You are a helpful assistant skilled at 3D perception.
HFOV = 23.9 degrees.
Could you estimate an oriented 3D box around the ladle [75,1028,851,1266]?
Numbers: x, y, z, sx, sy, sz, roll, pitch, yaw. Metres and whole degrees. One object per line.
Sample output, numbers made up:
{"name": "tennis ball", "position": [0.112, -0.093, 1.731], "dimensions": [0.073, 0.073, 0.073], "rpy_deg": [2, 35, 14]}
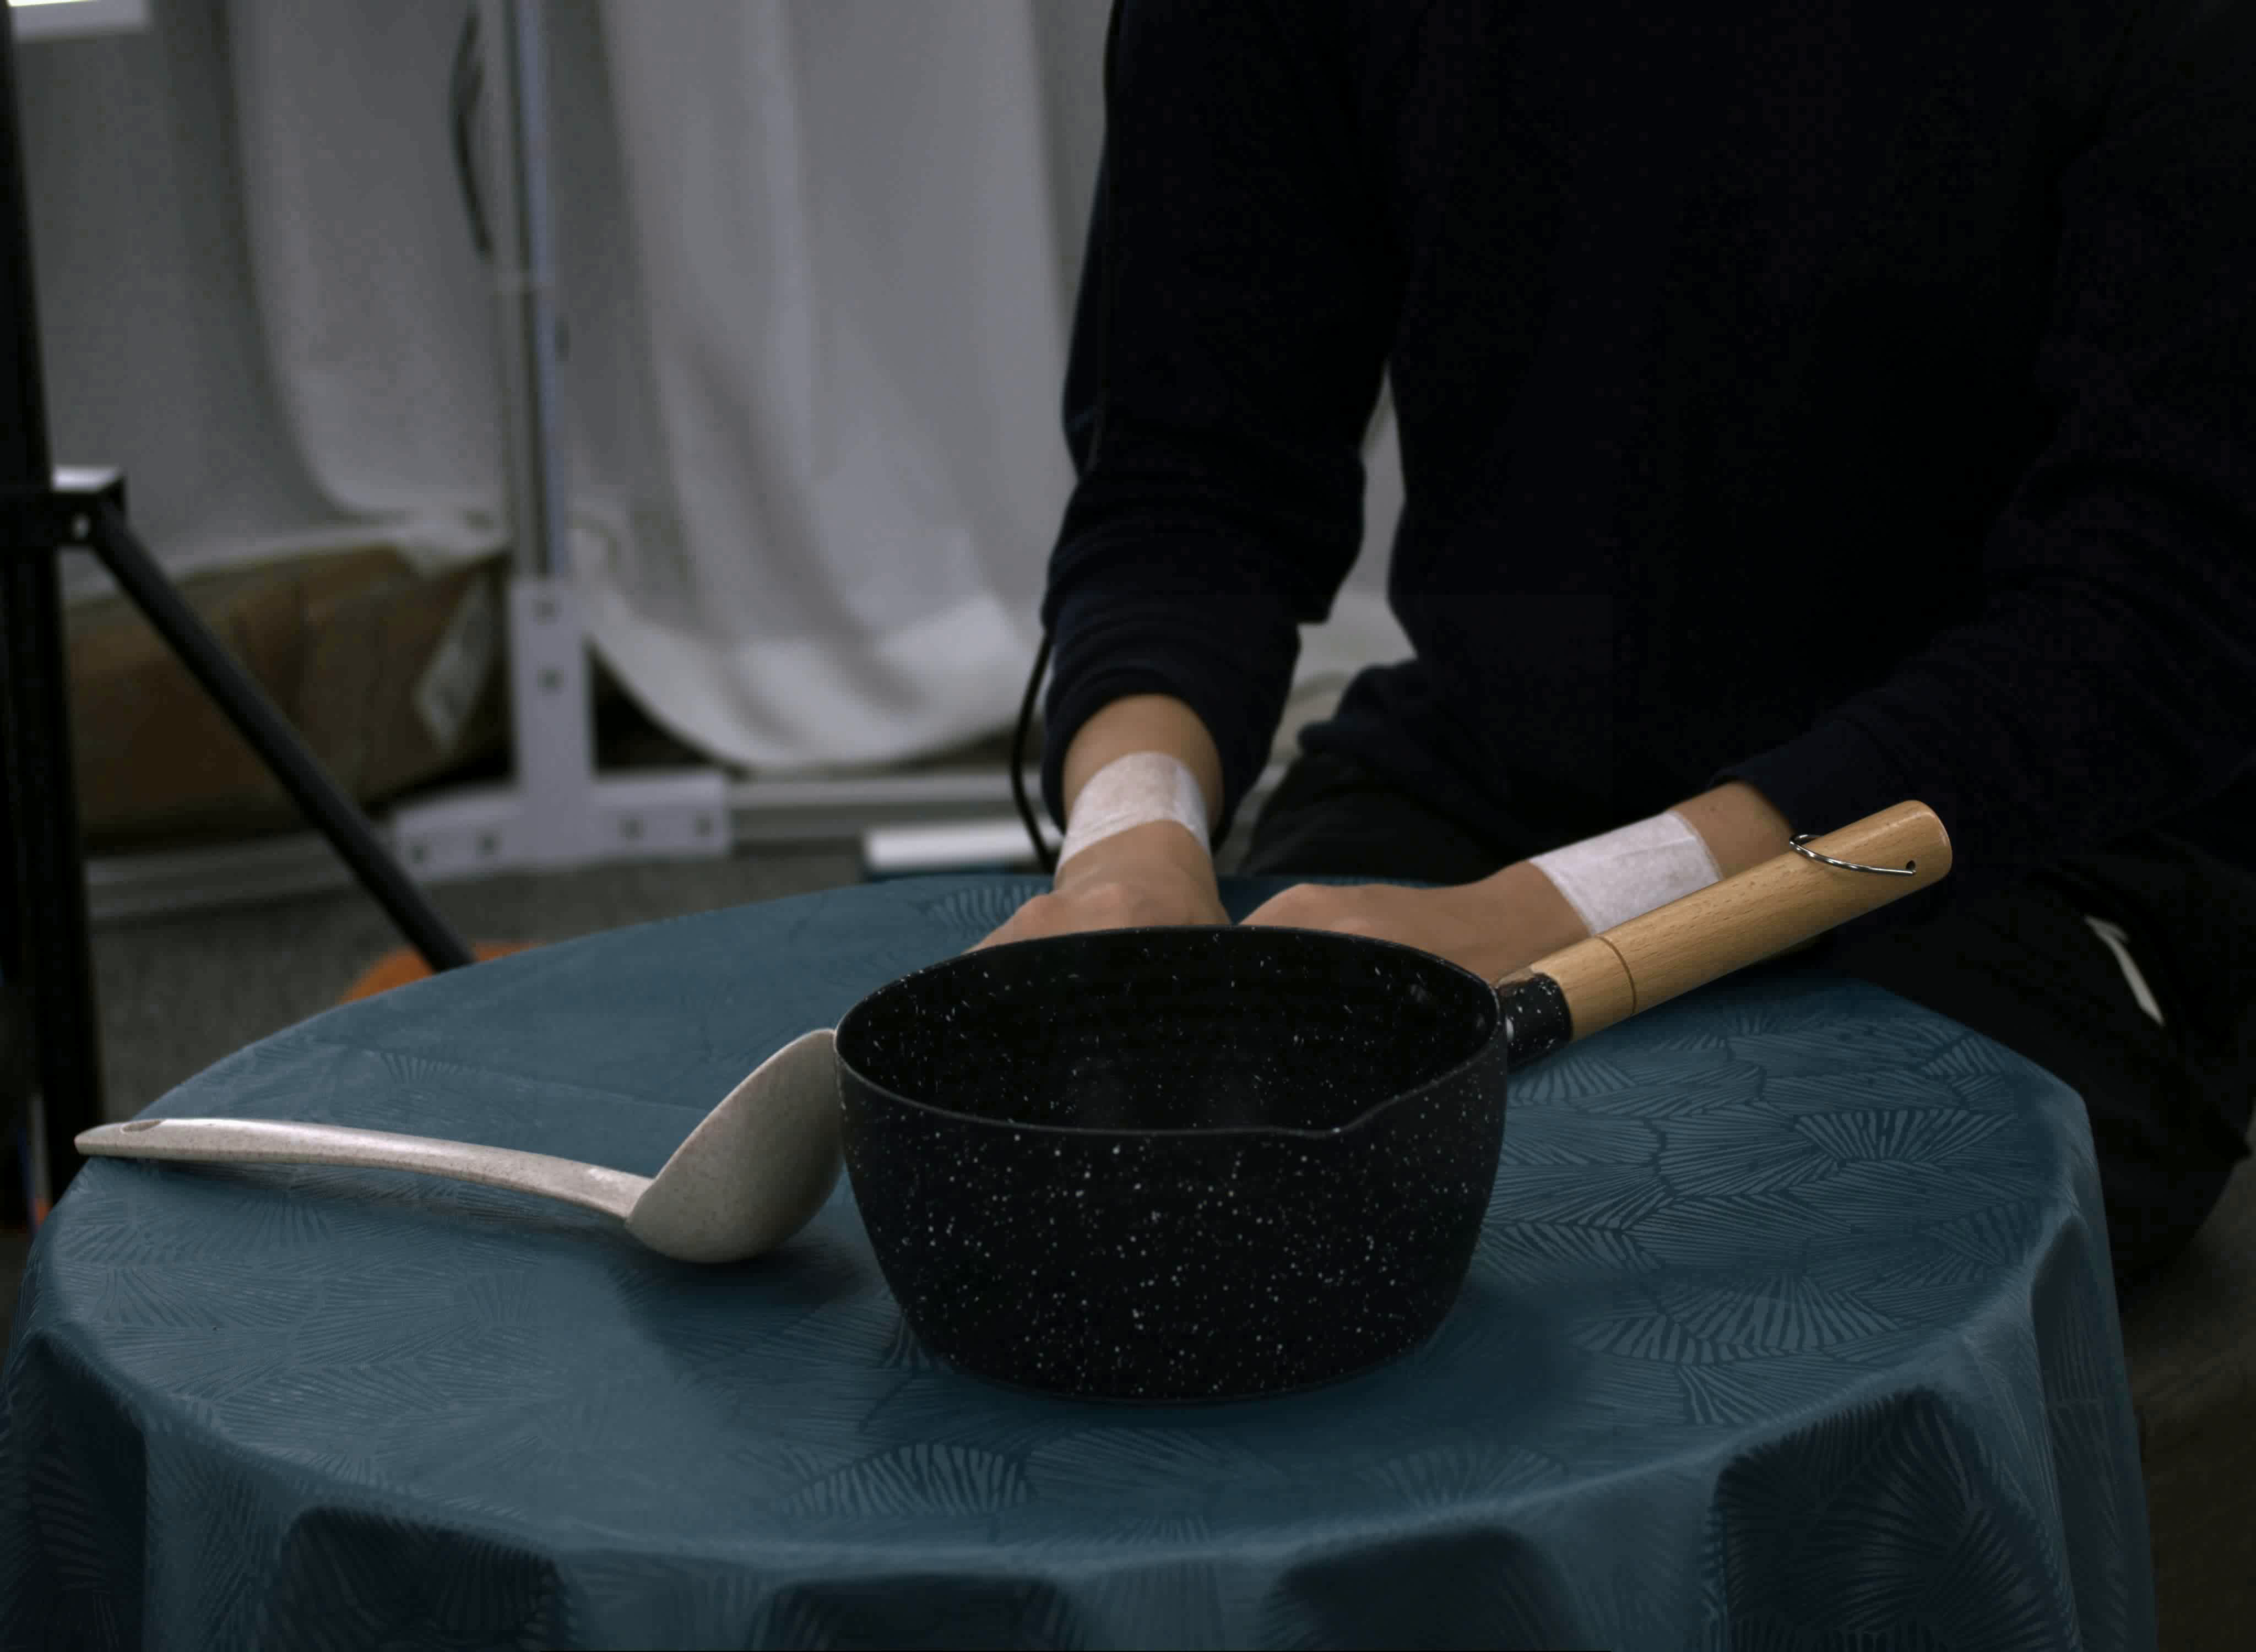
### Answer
{"name": "ladle", "position": [-0.205, 0.080, 1.569], "dimensions": [0.280, 0.069, 0.088], "rpy_deg": [6, 25, 30]}

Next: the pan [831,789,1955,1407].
{"name": "pan", "position": [0.083, 0.070, 1.480], "dimensions": [0.336, 0.108, 0.211], "rpy_deg": [-11, 17, -23]}
